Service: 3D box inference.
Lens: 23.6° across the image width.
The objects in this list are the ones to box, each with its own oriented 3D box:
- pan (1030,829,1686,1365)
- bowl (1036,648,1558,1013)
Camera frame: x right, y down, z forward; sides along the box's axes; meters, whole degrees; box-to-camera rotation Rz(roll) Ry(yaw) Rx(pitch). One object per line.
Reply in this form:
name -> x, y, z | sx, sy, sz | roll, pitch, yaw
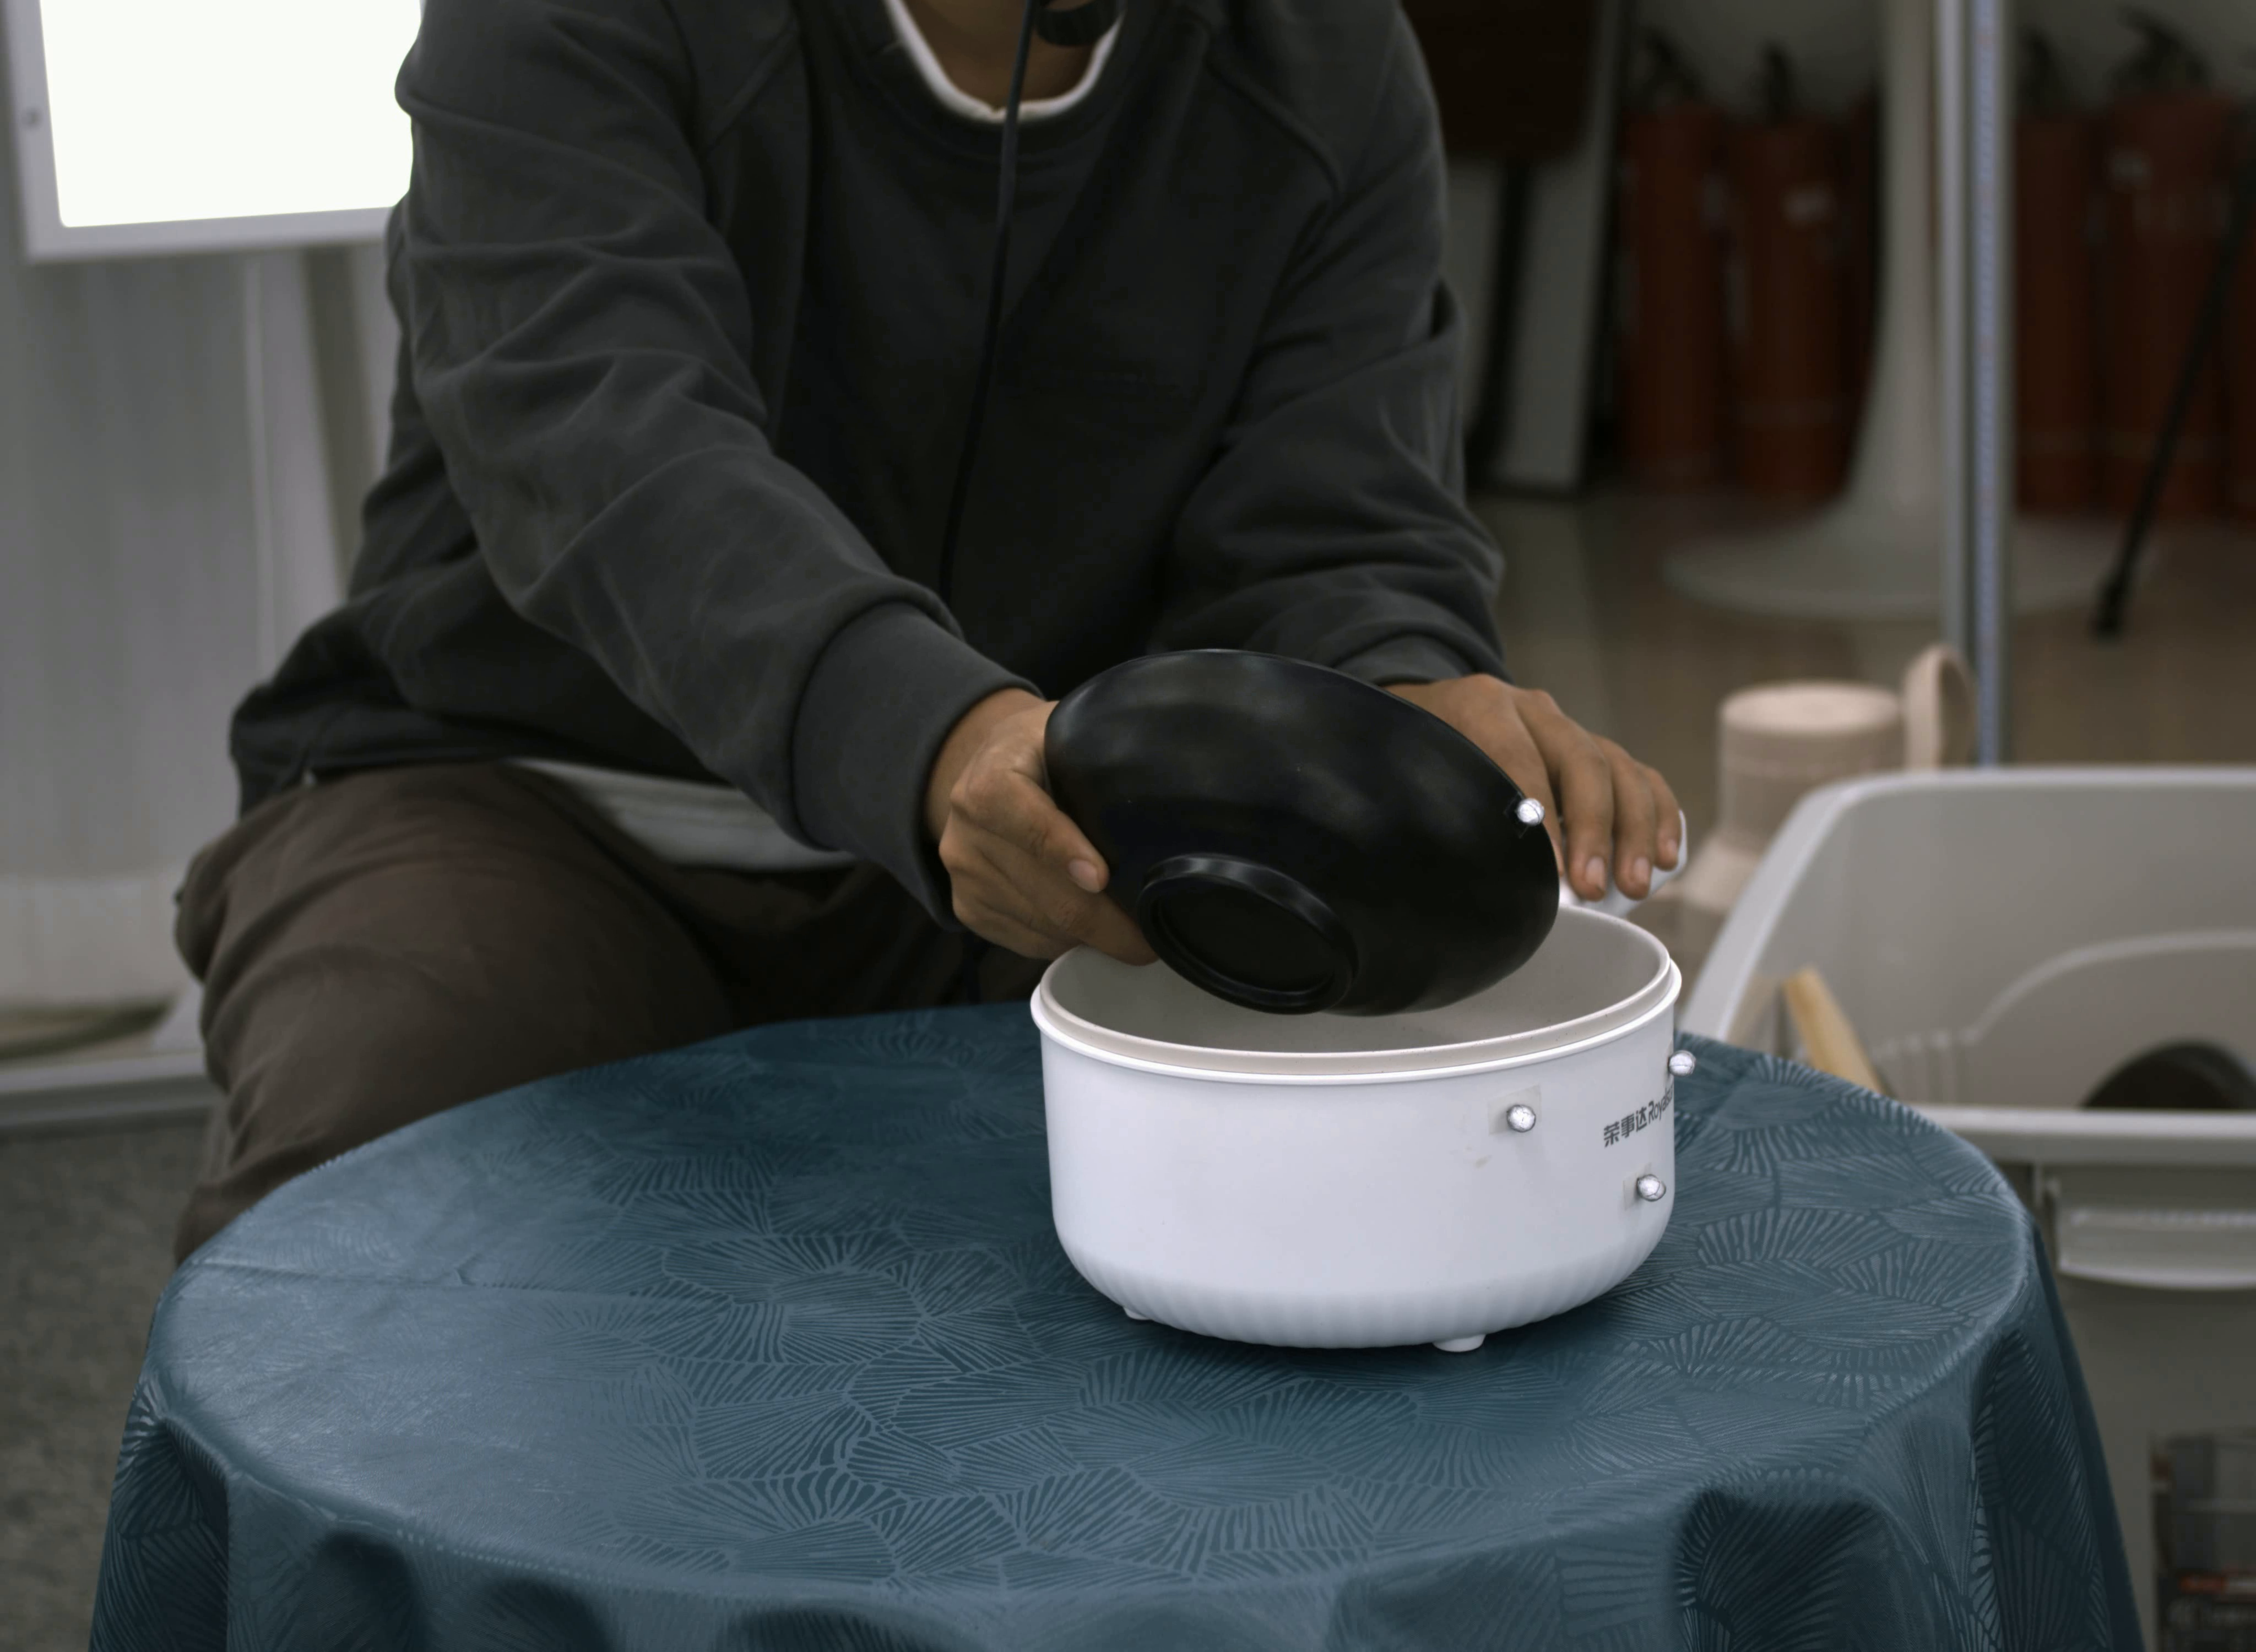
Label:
pan -> 0.104, 0.083, 1.726 | 0.201, 0.103, 0.350 | -1, 11, 26
bowl -> 0.046, 0.012, 1.649 | 0.168, 0.138, 0.067 | 26, 58, -2
